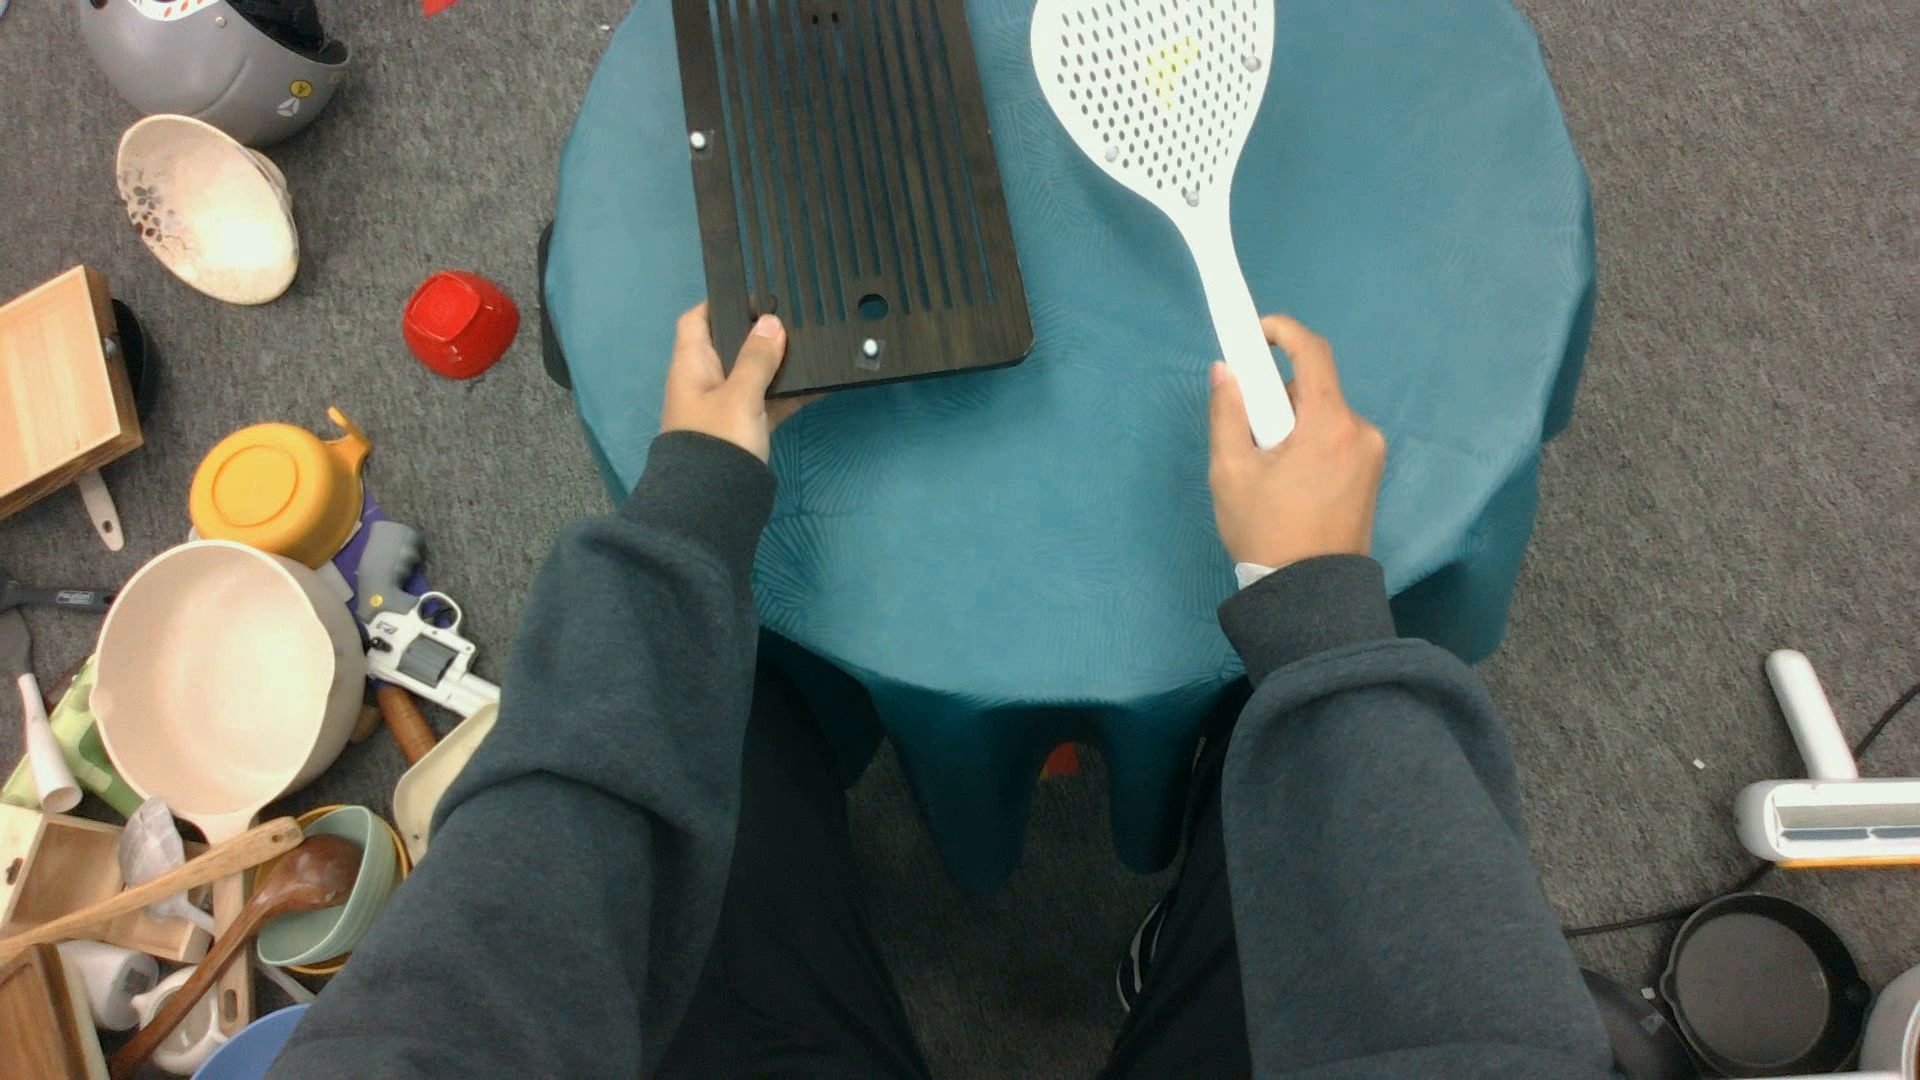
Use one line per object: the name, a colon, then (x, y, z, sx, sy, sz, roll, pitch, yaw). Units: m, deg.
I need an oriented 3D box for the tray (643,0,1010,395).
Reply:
tray: (-0.083, -0.225, 0.782, 0.170, 0.018, 0.307, -9, 69, -6)

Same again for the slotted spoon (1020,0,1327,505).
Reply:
slotted spoon: (0.127, -0.182, 0.731, 0.136, 0.050, 0.349, -19, 70, 20)
